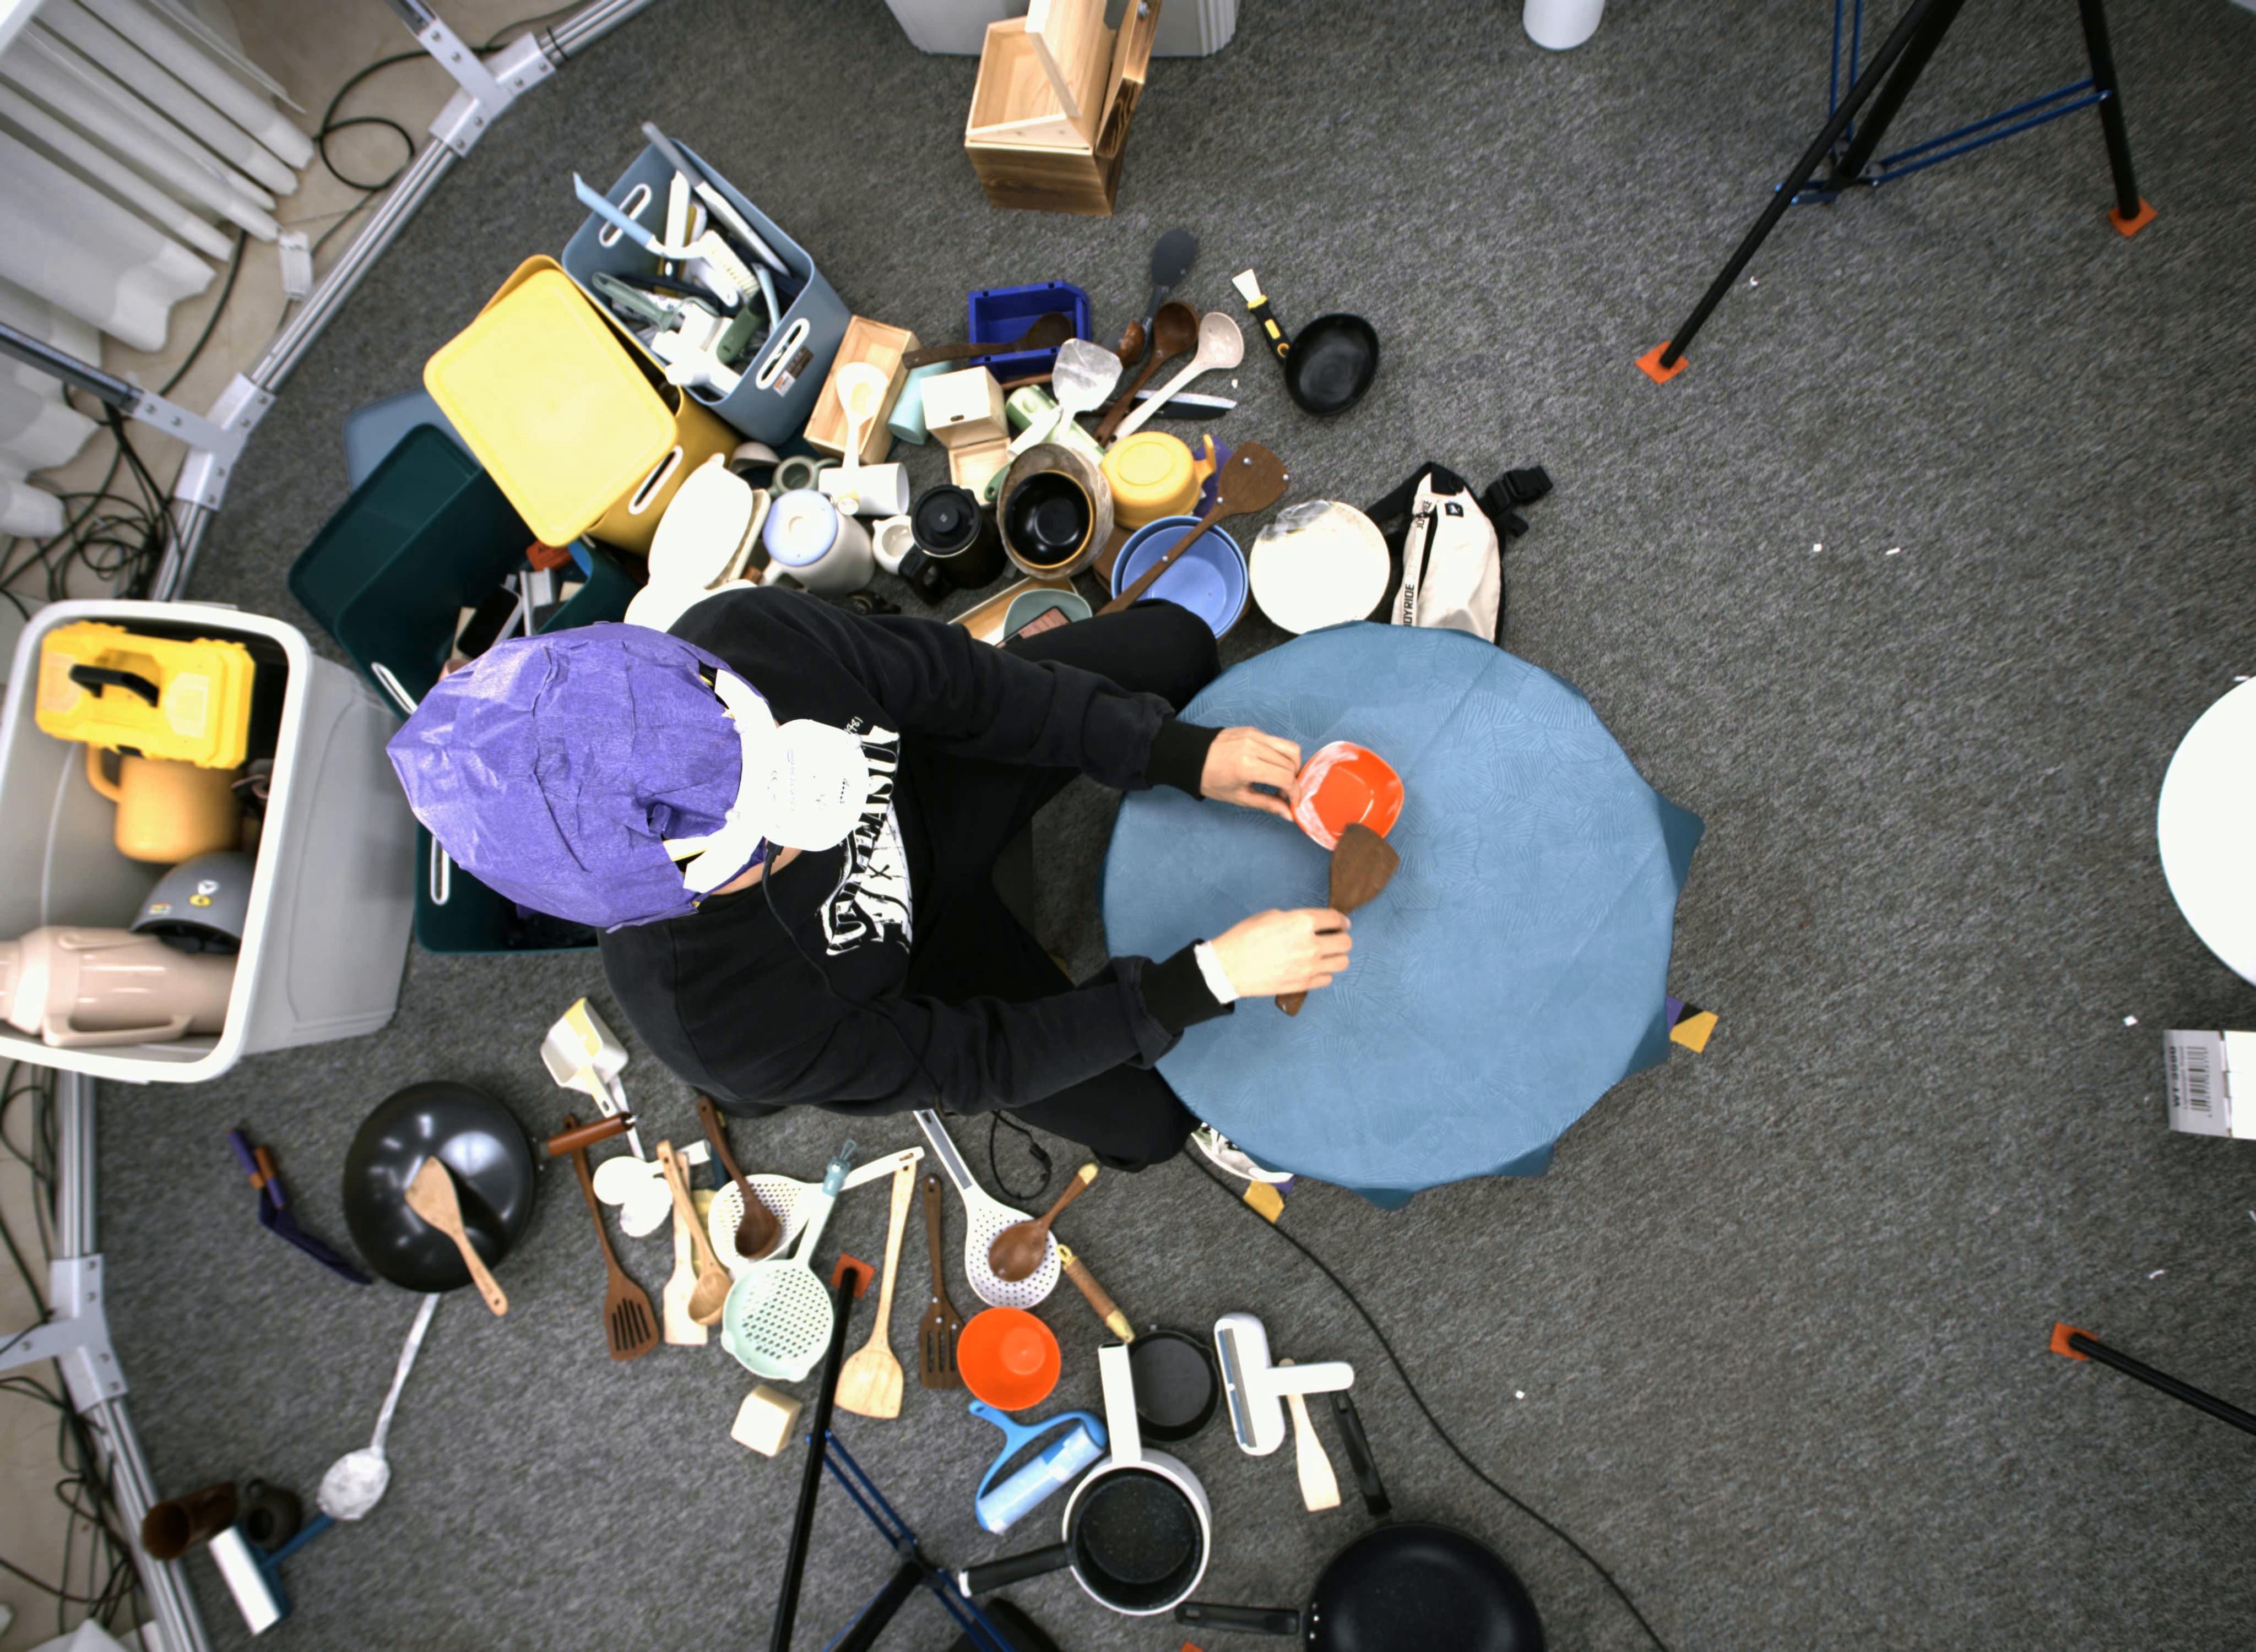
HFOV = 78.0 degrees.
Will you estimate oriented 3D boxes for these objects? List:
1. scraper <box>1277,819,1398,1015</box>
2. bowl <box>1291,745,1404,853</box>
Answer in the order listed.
[{"bbox_3d":[0.199,0.091,1.359,0.076,0.011,0.207,38,69,-20],"label":"scraper"},{"bbox_3d":[0.224,-0.024,1.442,0.119,0.051,0.118,0,88,-5],"label":"bowl"}]
